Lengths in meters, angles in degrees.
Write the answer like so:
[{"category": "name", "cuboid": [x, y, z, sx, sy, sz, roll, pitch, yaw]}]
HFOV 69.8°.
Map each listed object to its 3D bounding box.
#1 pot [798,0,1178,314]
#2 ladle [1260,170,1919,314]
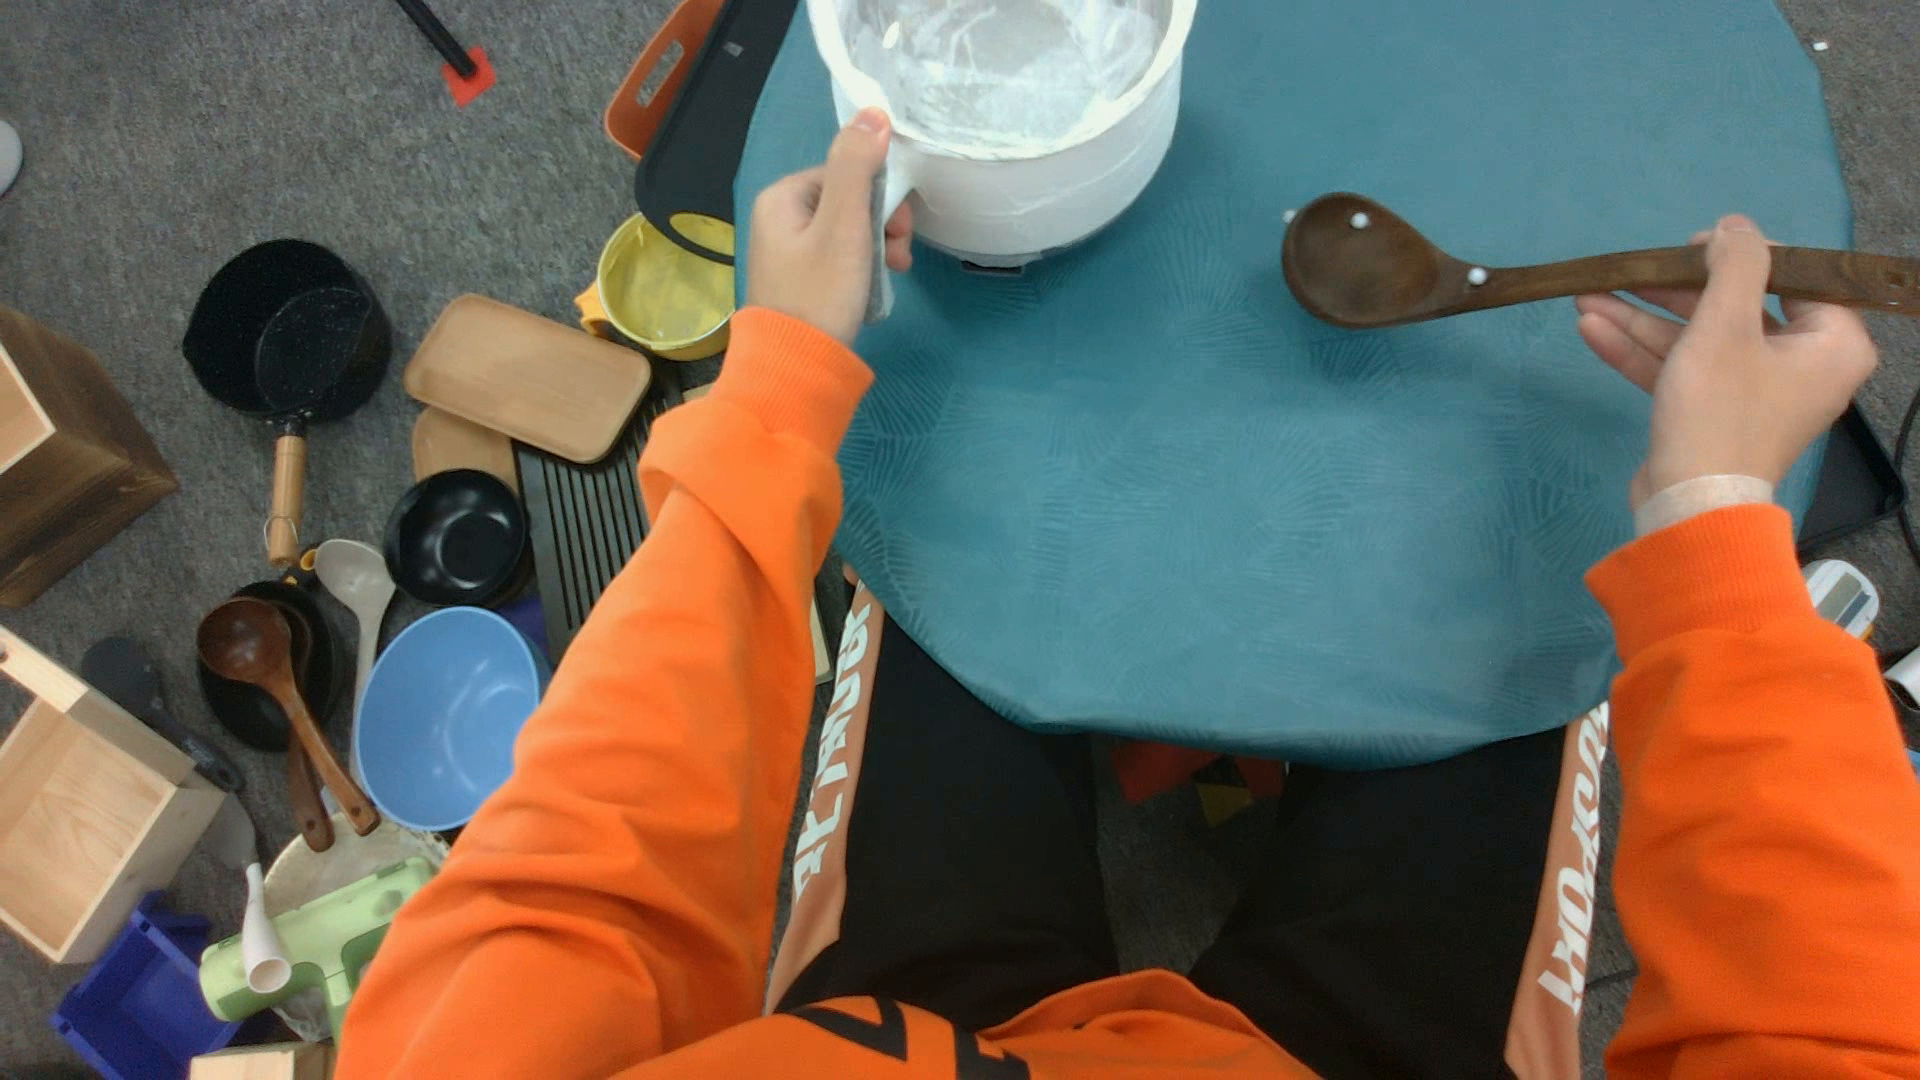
[{"category": "pot", "cuboid": [0.000, -0.223, 0.684, 0.179, 0.136, 0.234, 33, 81, 10]}, {"category": "ladle", "cuboid": [0.268, -0.138, 0.620, 0.273, 0.071, 0.076, 7, 64, 41]}]
